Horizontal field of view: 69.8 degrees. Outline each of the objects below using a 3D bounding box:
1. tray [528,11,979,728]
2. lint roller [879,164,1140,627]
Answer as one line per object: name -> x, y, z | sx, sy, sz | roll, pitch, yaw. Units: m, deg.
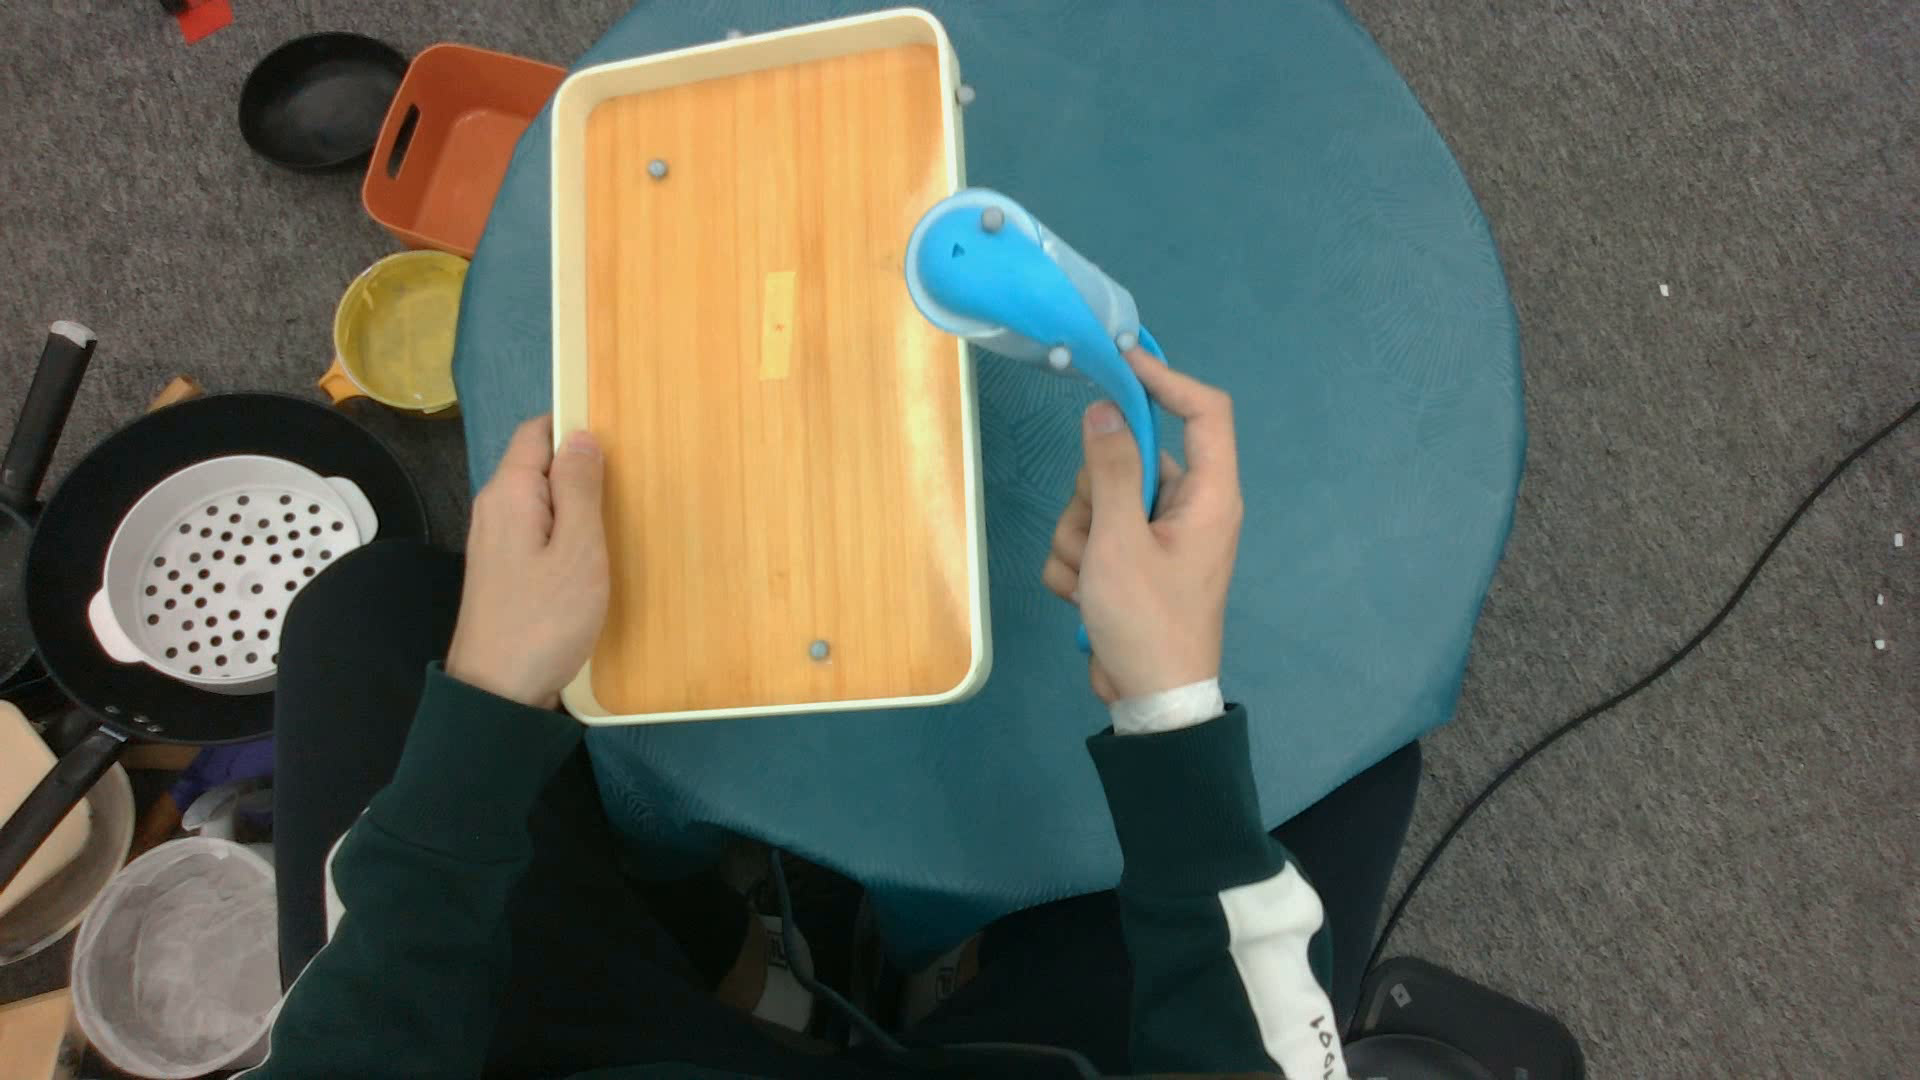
tray -> -0.095, -0.074, 0.606 | 0.191, 0.027, 0.300 | -6, 80, 13
lint roller -> 0.042, -0.058, 0.584 | 0.068, 0.229, 0.180 | -20, 90, 14
